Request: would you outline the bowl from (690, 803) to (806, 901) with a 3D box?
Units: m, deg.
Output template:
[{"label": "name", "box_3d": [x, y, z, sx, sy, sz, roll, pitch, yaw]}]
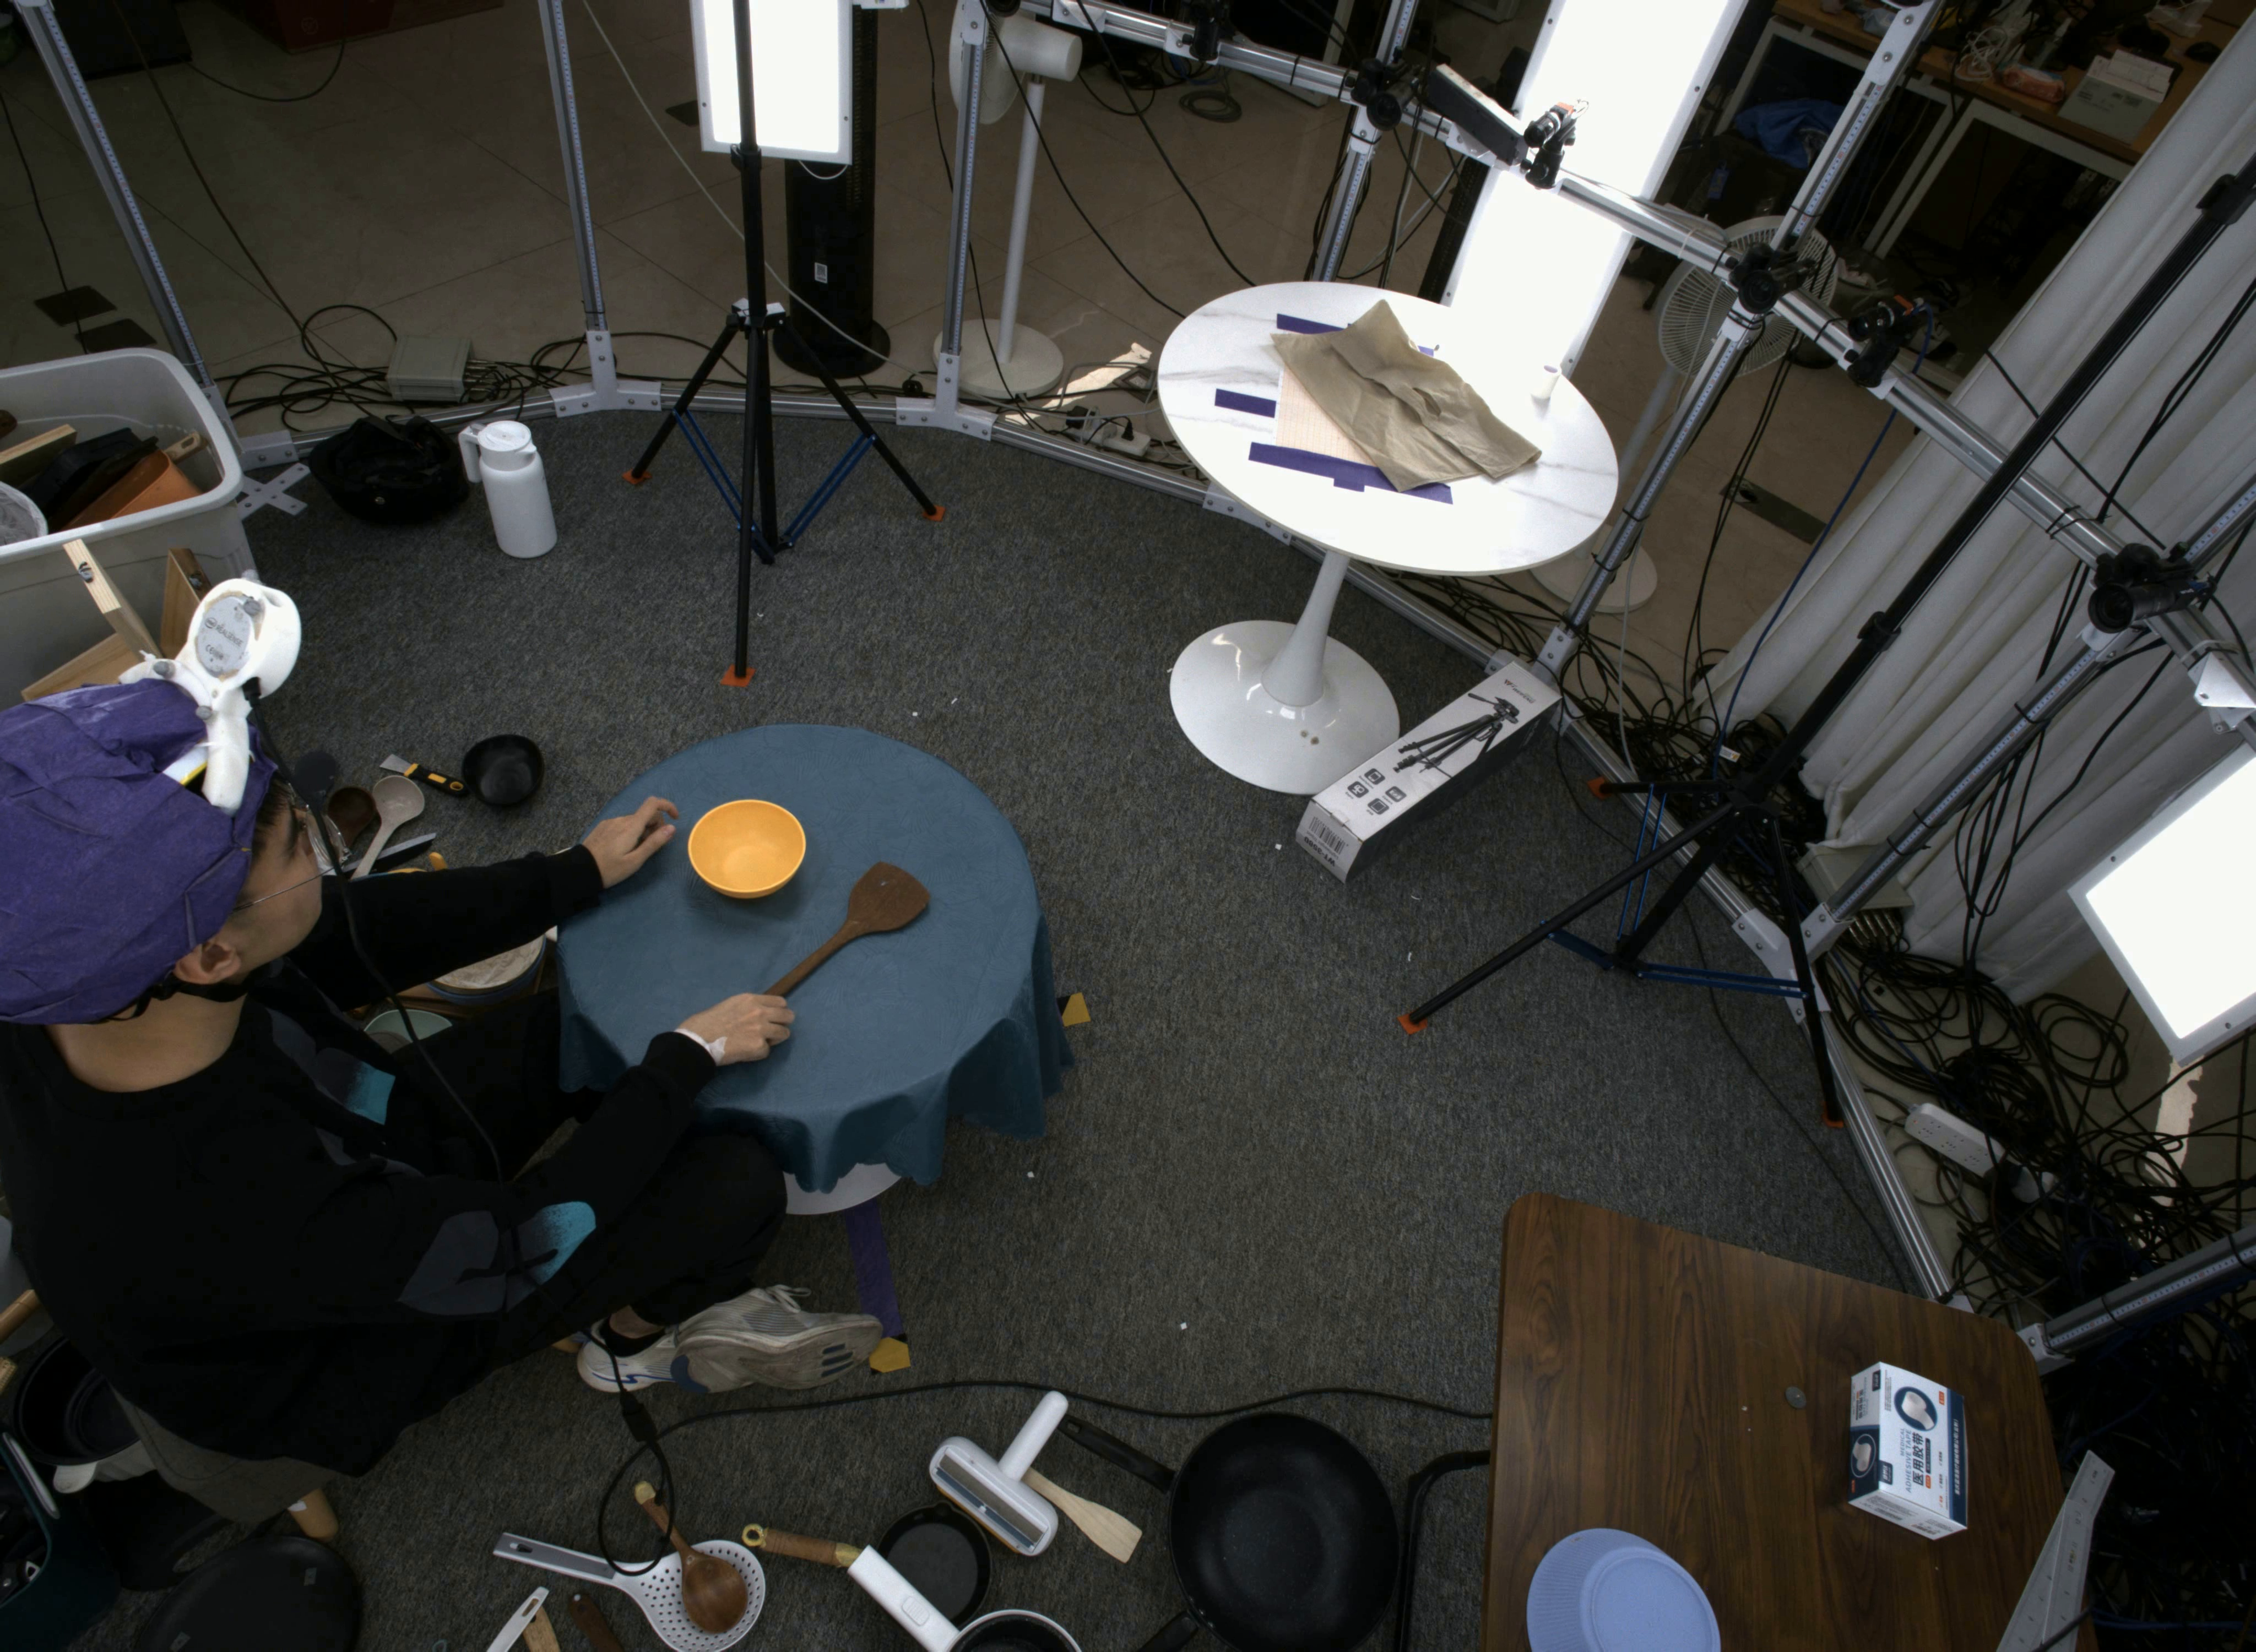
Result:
[{"label": "bowl", "box_3d": [-0.480, 0.042, 1.648, 0.144, 0.061, 0.142, 6, 52, -6]}]

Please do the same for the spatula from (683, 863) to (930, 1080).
[{"label": "spatula", "box_3d": [-0.398, 0.175, 1.596, 0.094, 0.016, 0.386, 36, 54, 14]}]
